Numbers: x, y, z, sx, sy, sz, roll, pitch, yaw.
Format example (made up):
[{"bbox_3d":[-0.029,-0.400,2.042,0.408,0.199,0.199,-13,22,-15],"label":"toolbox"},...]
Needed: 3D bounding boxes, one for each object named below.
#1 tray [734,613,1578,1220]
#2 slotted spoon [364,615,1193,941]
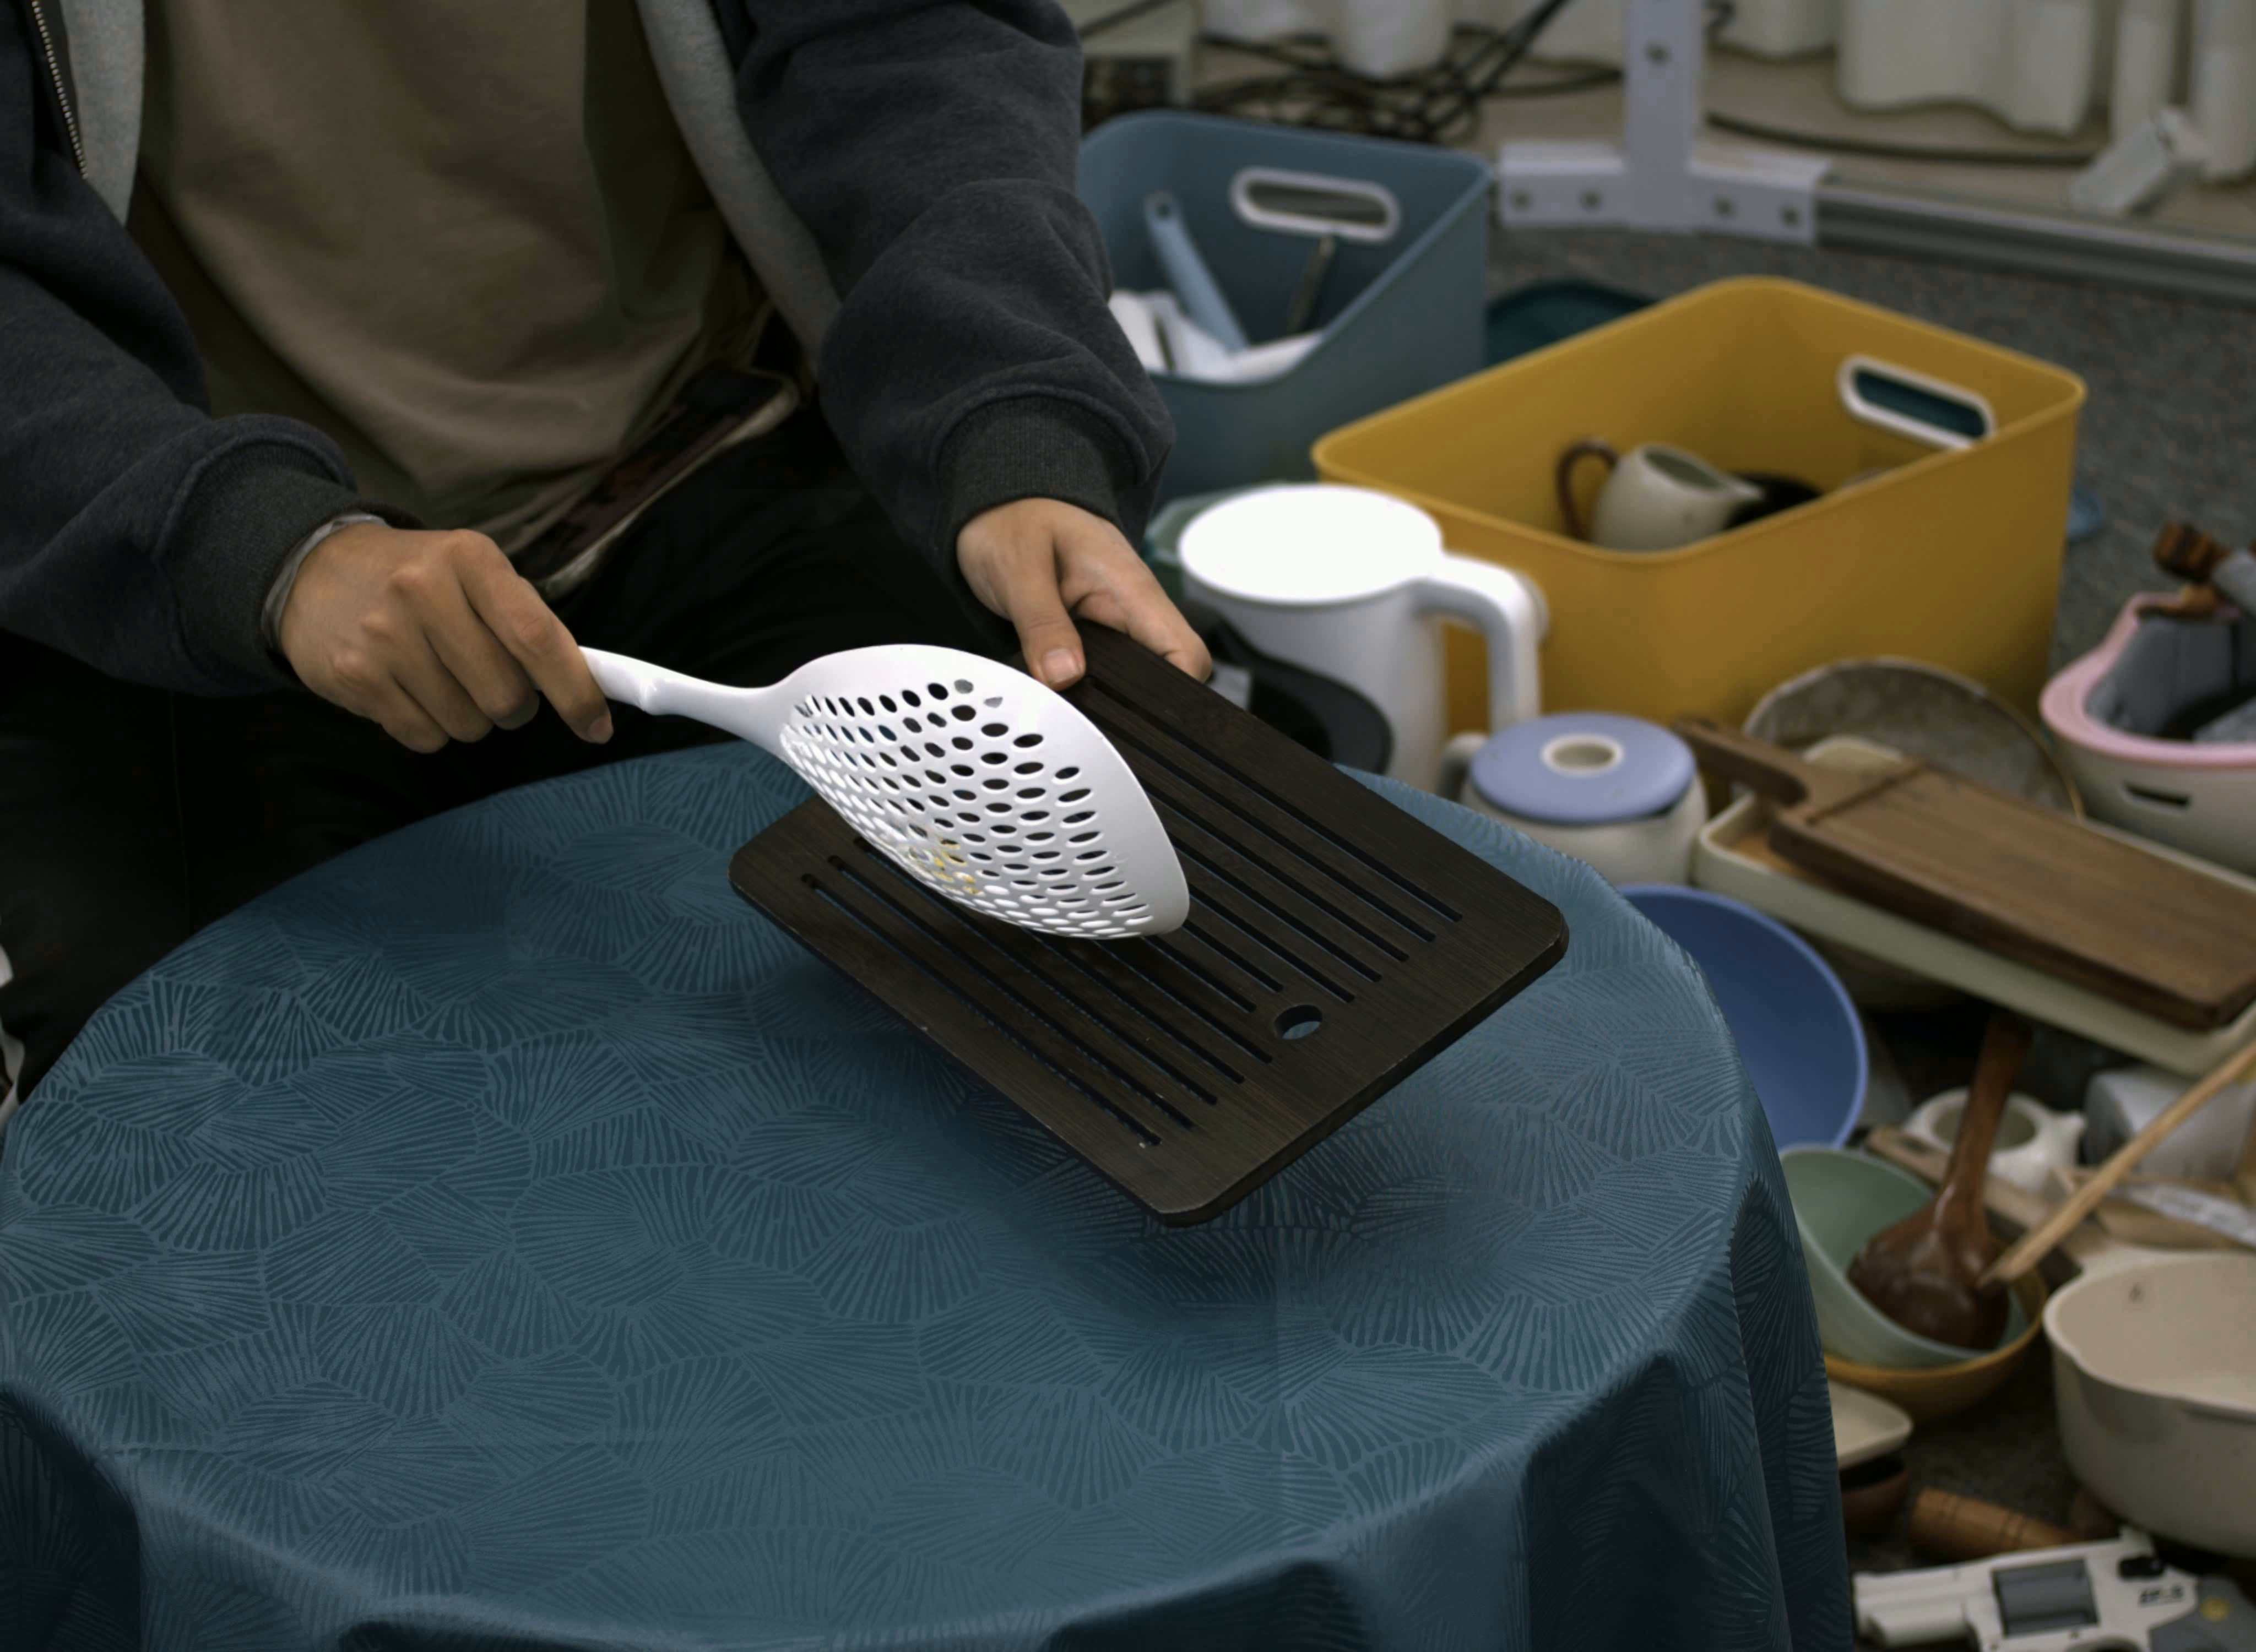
[{"bbox_3d":[0.004,0.027,1.908,0.171,0.018,0.307,-35,37,-17],"label":"tray"},{"bbox_3d":[-0.126,-0.030,1.913,0.347,0.135,0.051,21,59,38],"label":"slotted spoon"}]
